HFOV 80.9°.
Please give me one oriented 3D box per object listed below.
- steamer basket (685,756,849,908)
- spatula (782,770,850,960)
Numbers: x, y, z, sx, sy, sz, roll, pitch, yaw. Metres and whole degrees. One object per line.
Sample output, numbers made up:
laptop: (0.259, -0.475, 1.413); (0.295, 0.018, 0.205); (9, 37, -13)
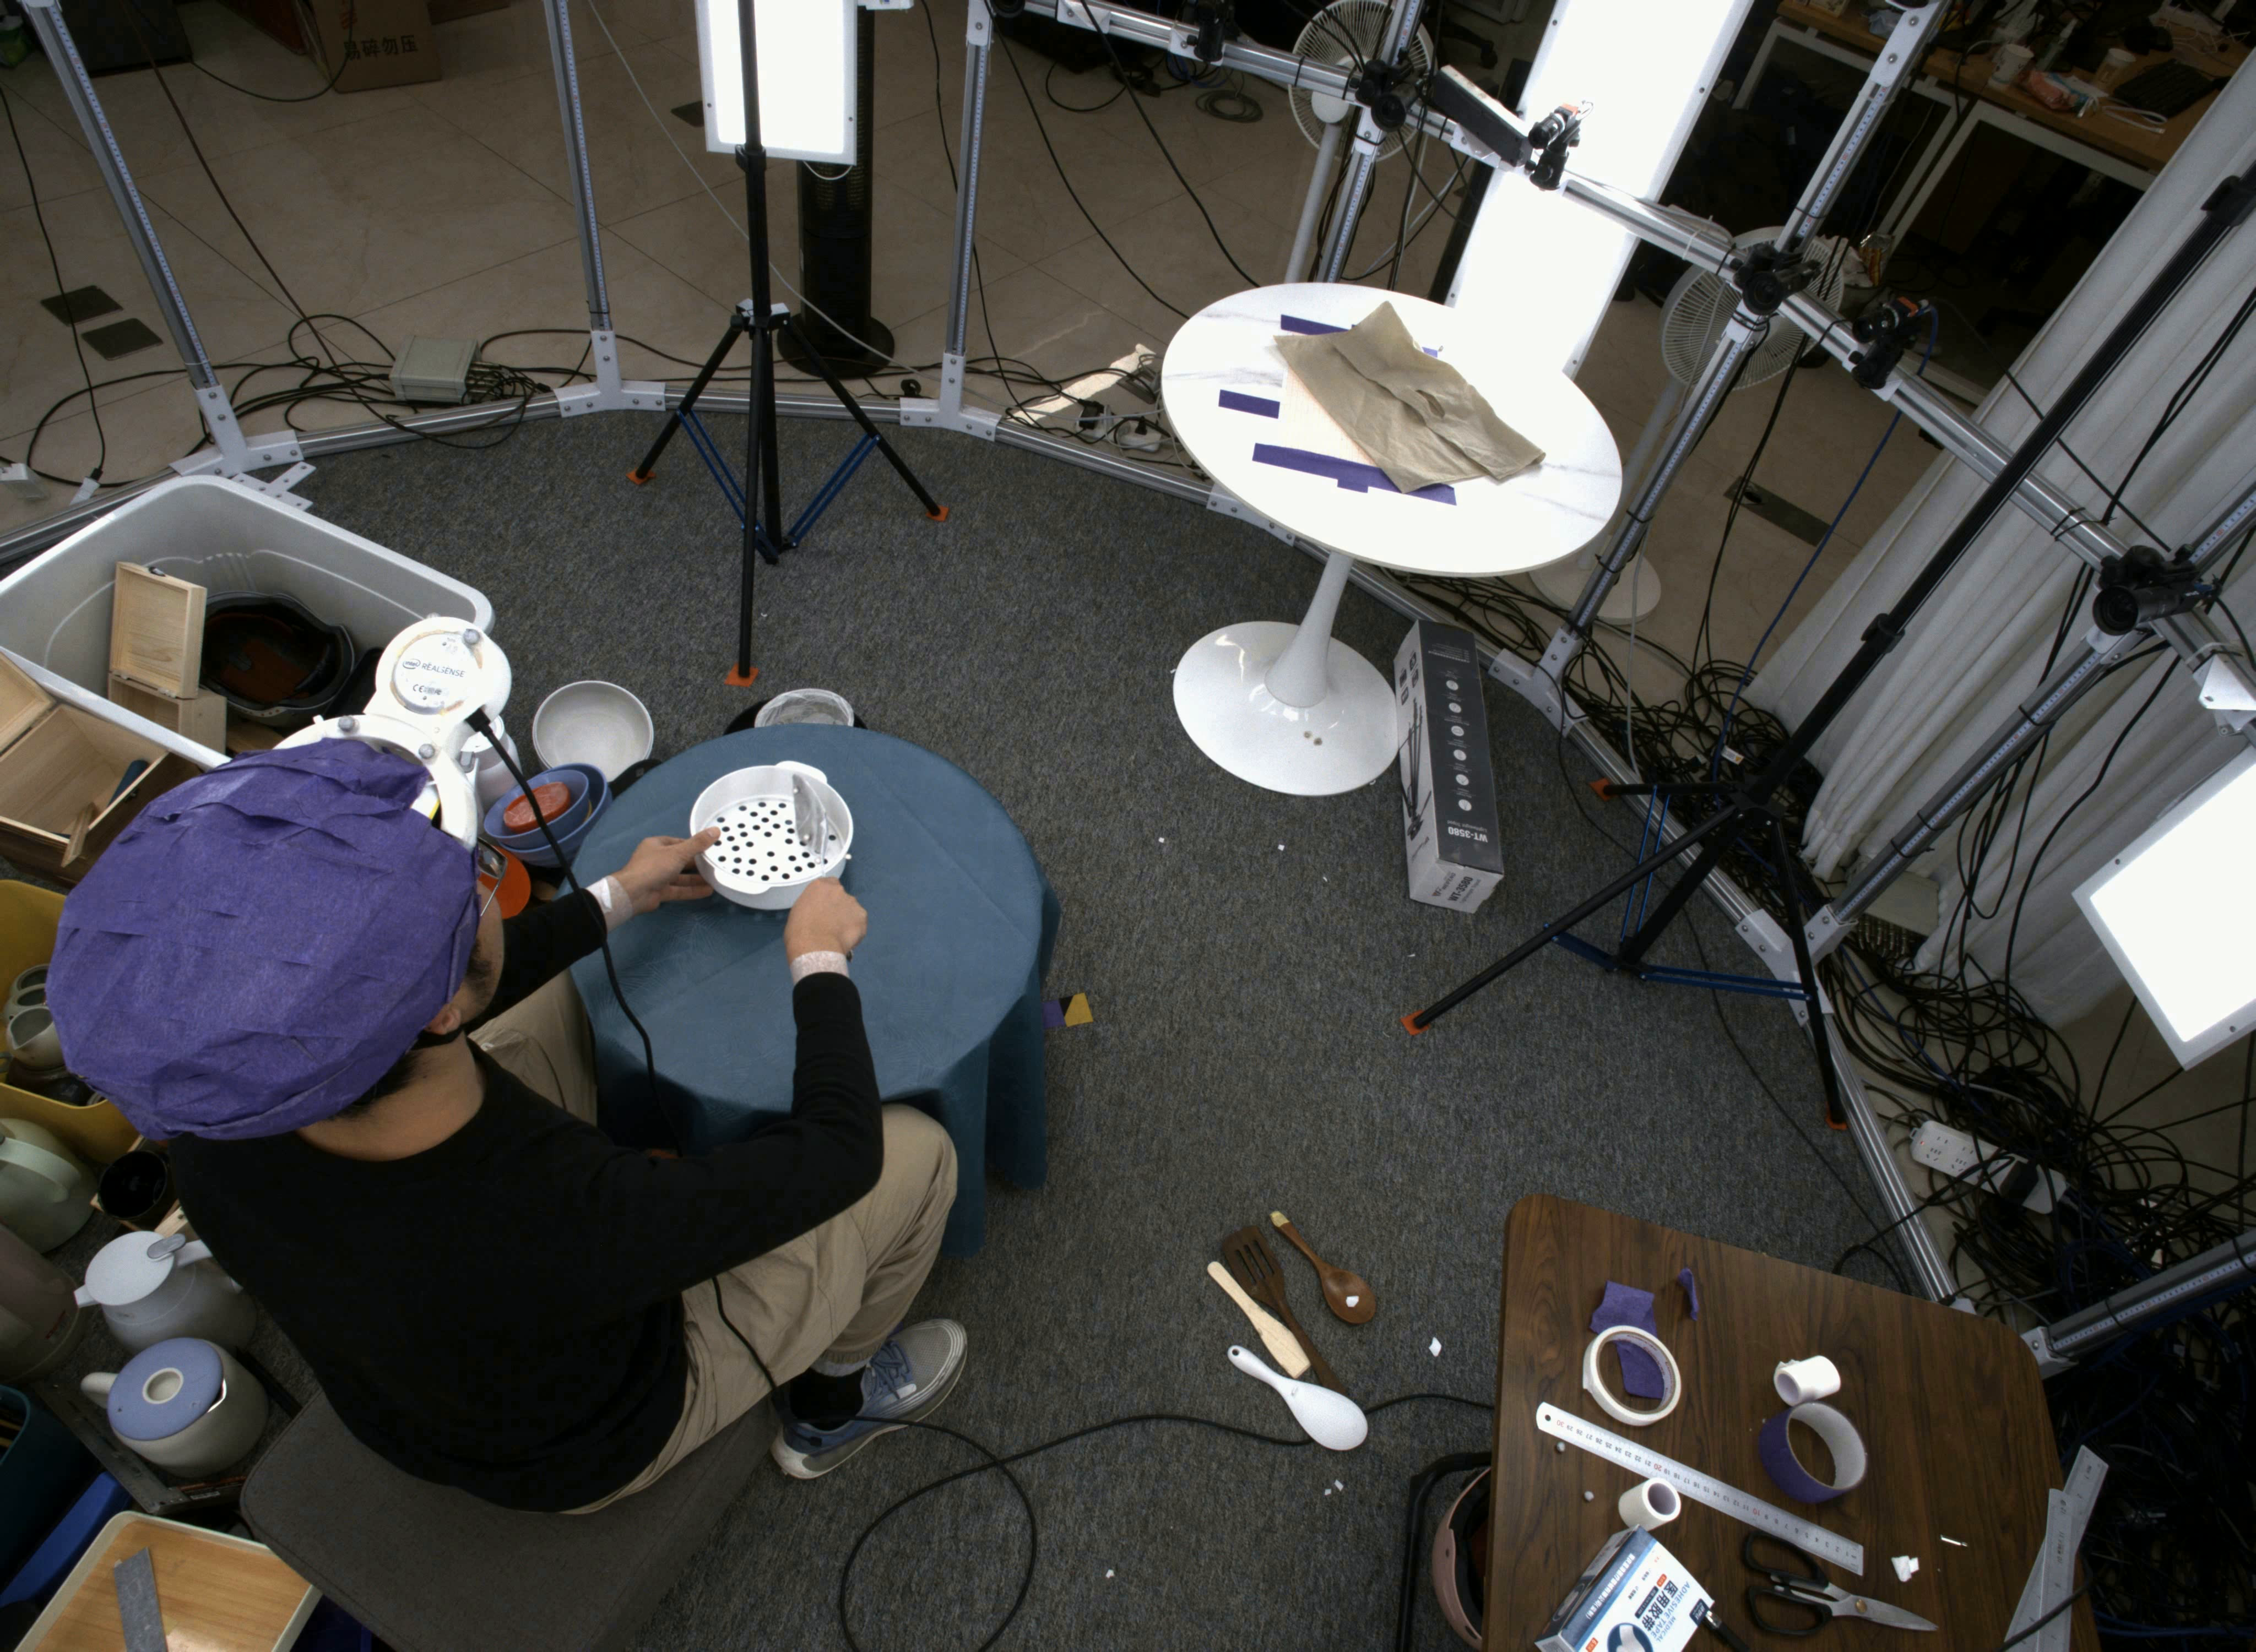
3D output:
steamer basket: (-0.459, 0.011, 1.650); (0.201, 0.070, 0.227); (18, 47, -3)
spatula: (-0.375, 0.049, 1.545); (0.045, 0.102, 0.353); (-6, 32, -17)
